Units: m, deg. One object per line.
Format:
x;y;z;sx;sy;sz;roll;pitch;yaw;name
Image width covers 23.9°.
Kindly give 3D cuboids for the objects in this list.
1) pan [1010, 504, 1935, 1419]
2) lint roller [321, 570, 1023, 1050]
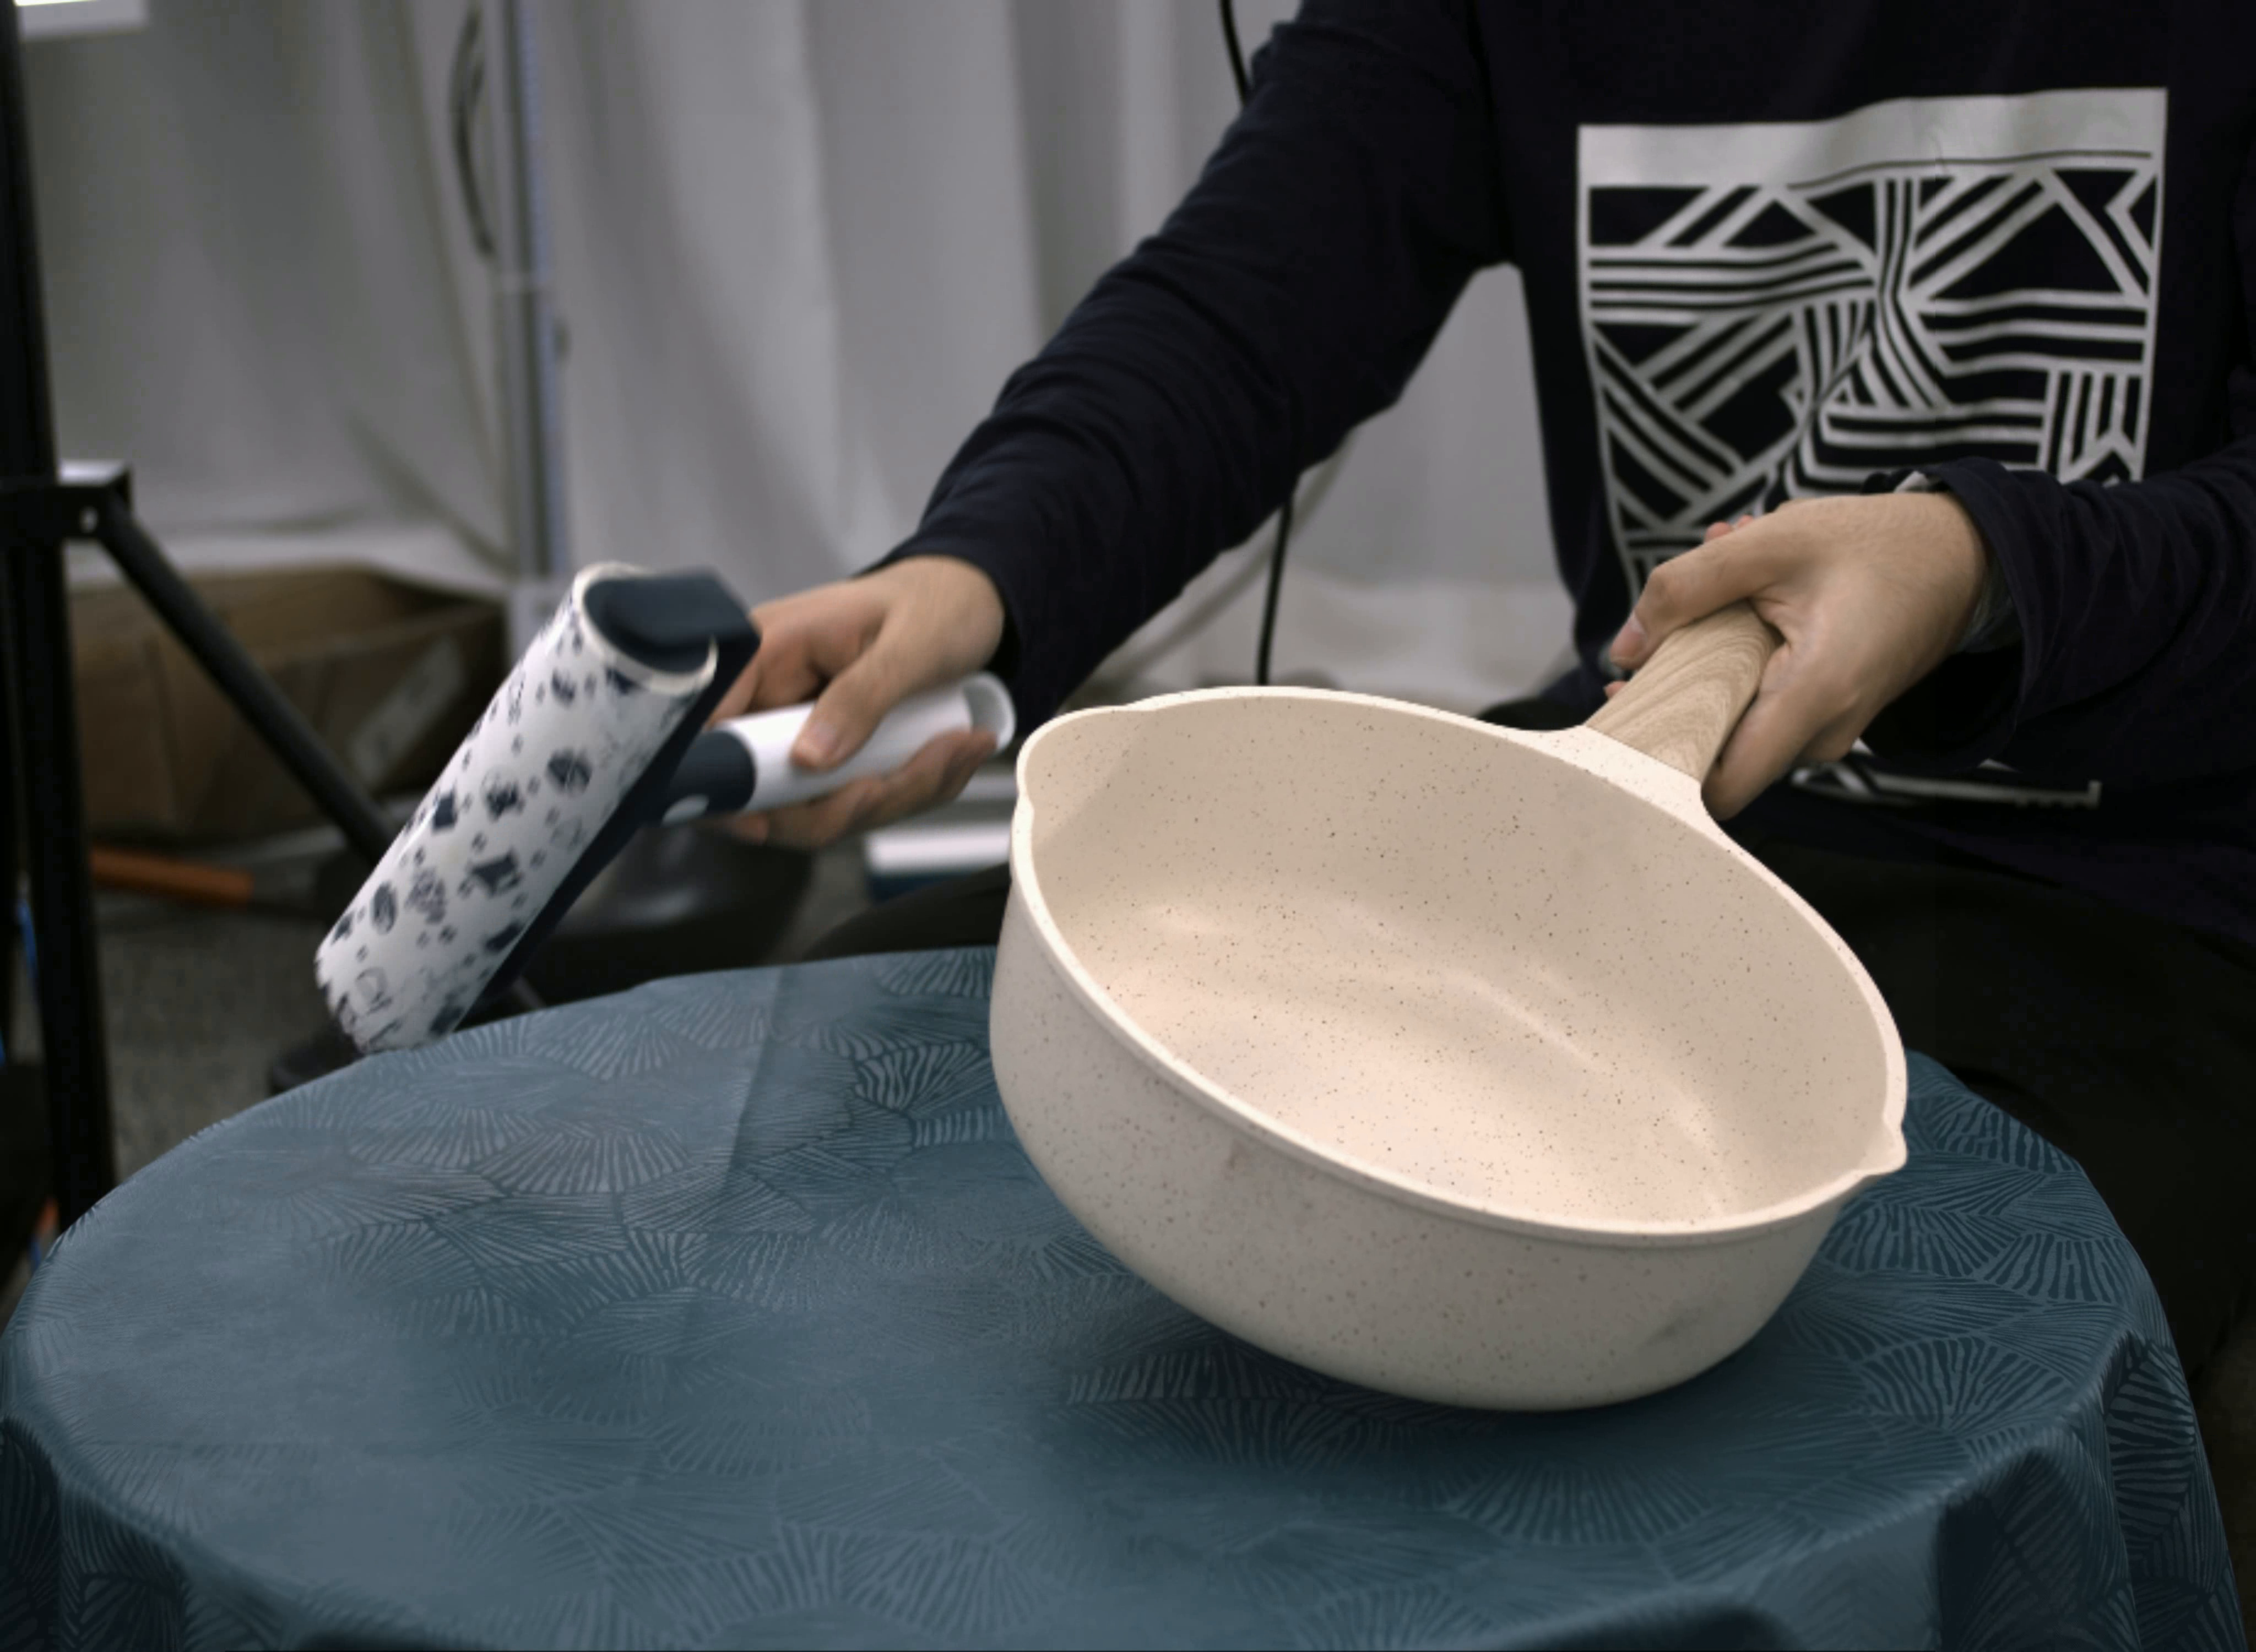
0.122;0.025;1.503;0.266;0.102;0.430;25;30;14;pan
-0.119;-0.015;1.623;0.241;0.178;0.051;-13;58;-52;lint roller
